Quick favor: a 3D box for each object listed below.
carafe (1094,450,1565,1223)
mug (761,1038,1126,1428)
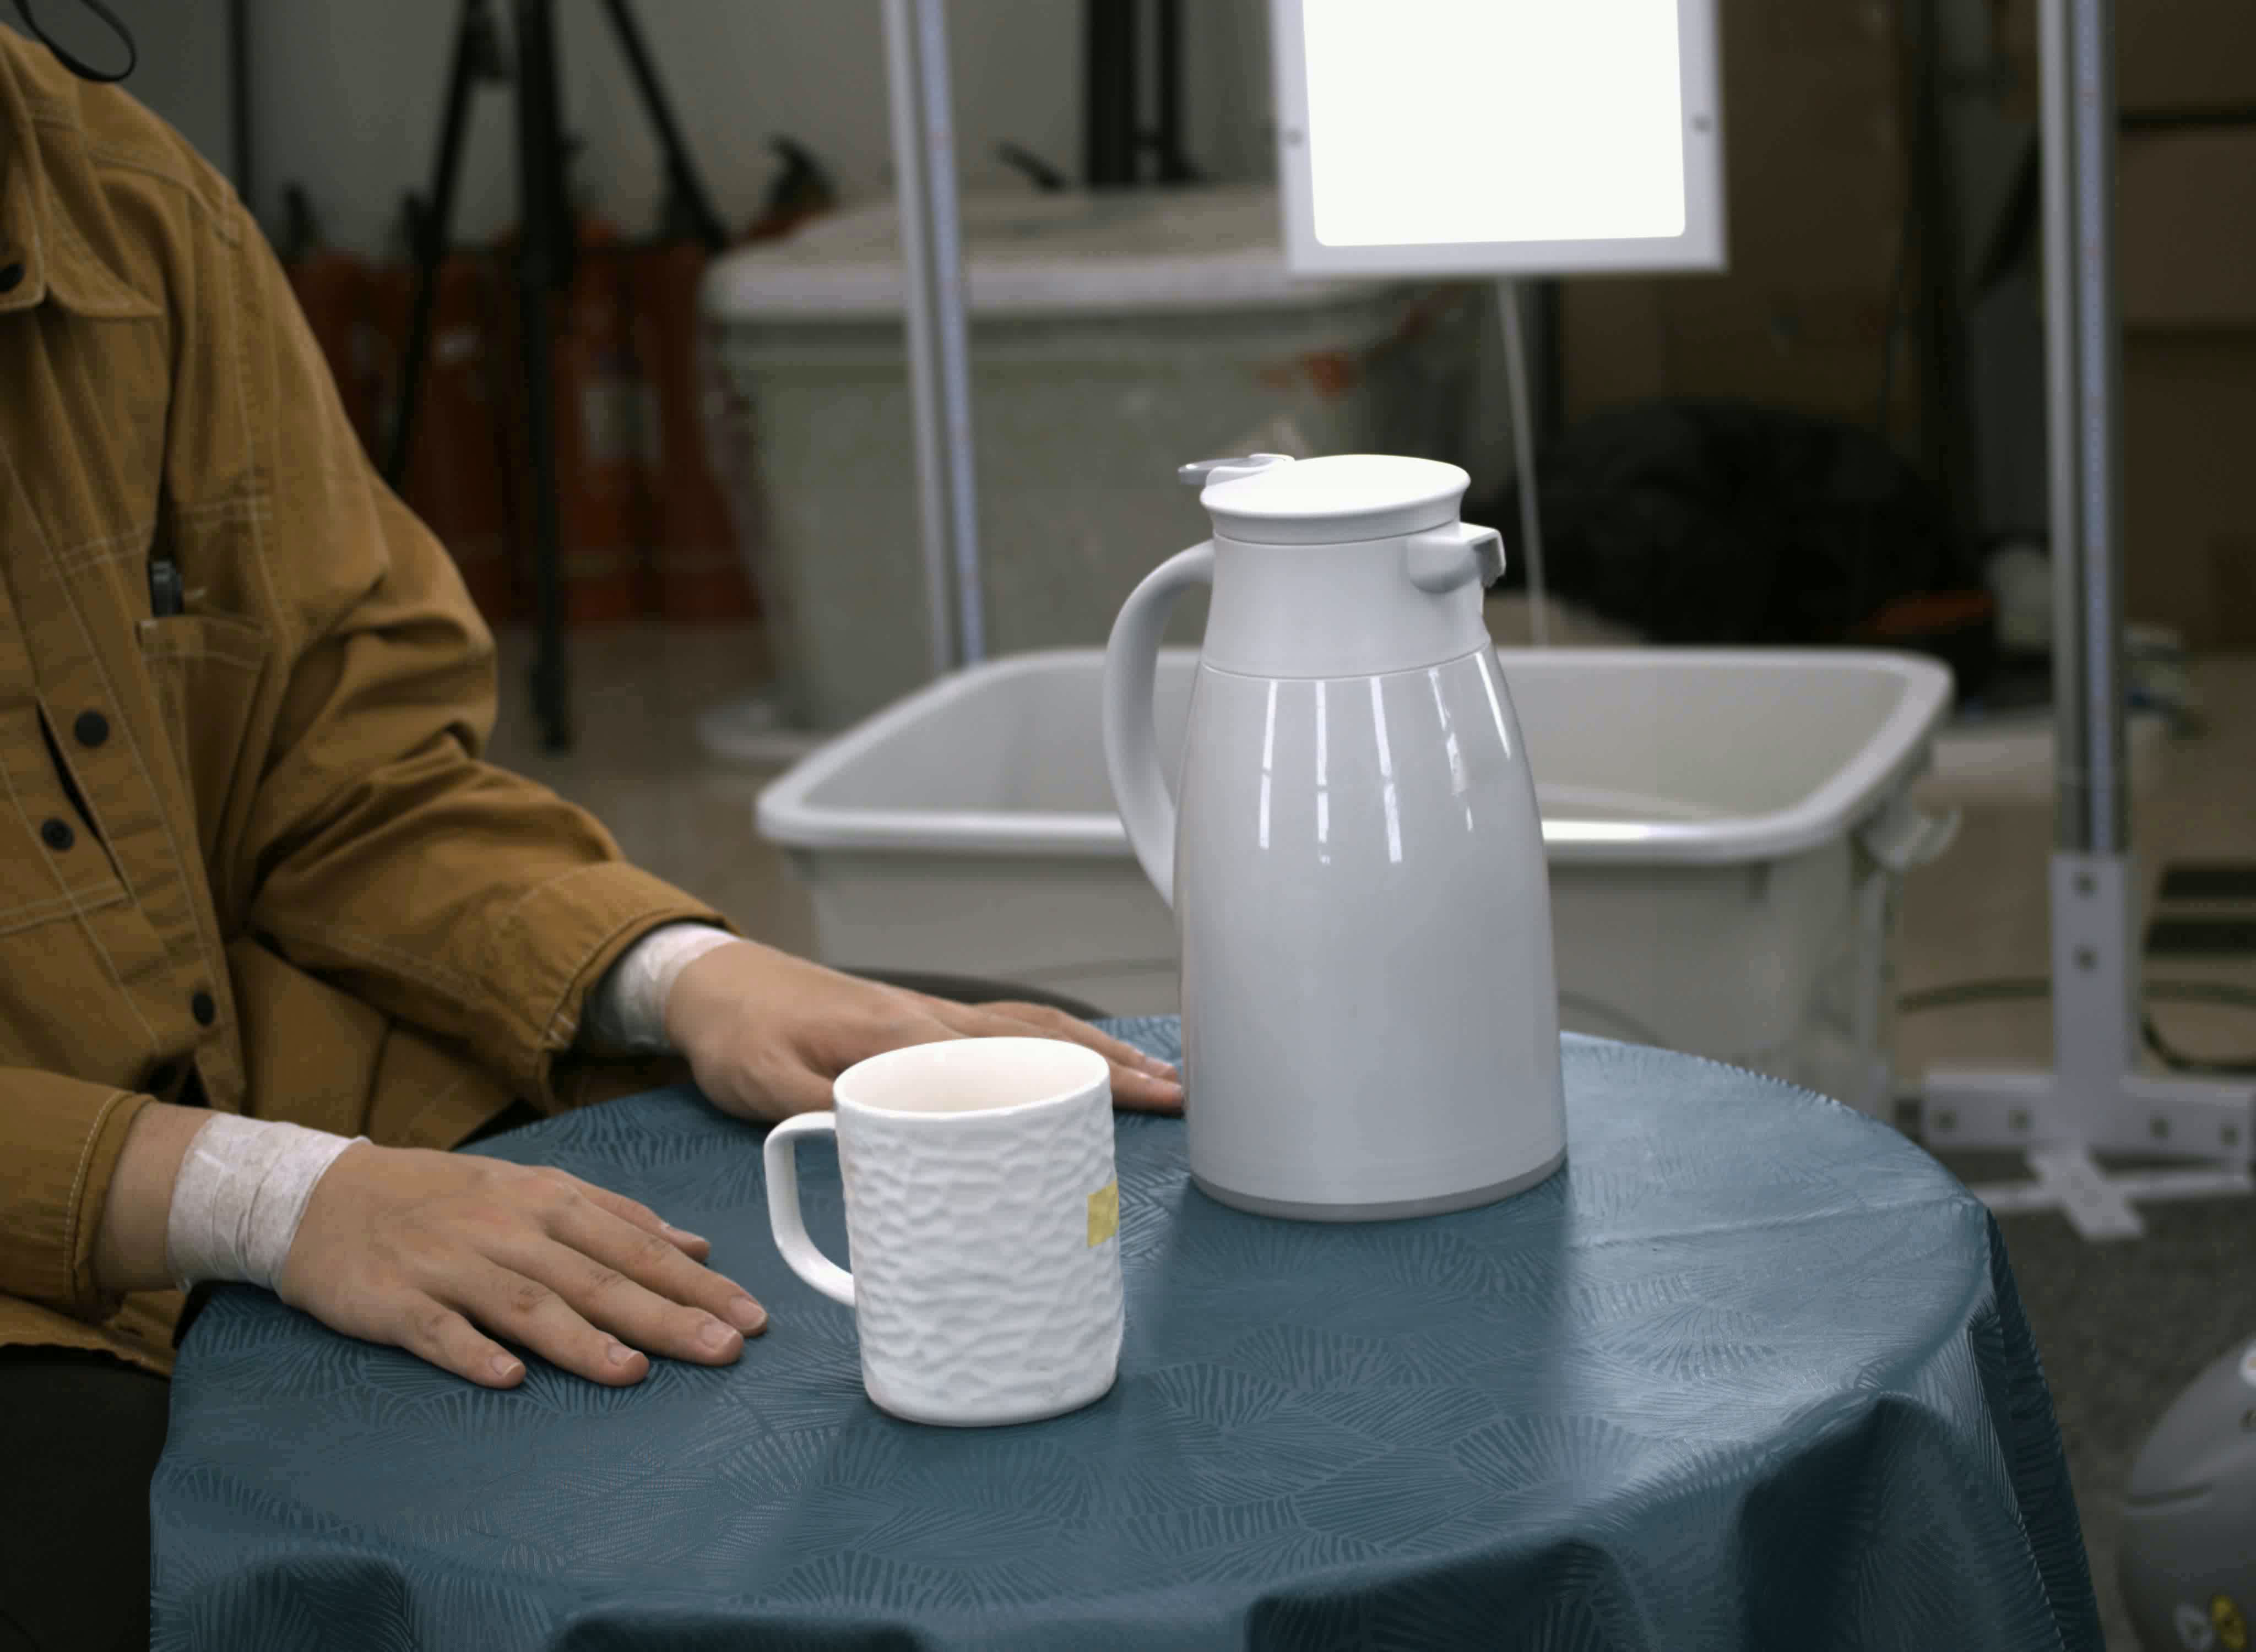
[{"bbox_3d":[0.061,-0.004,1.886,0.171,0.249,0.129,6,18,38],"label":"carafe"},{"bbox_3d":[-0.059,0.125,1.713,0.120,0.102,0.083,2,14,27],"label":"mug"}]
